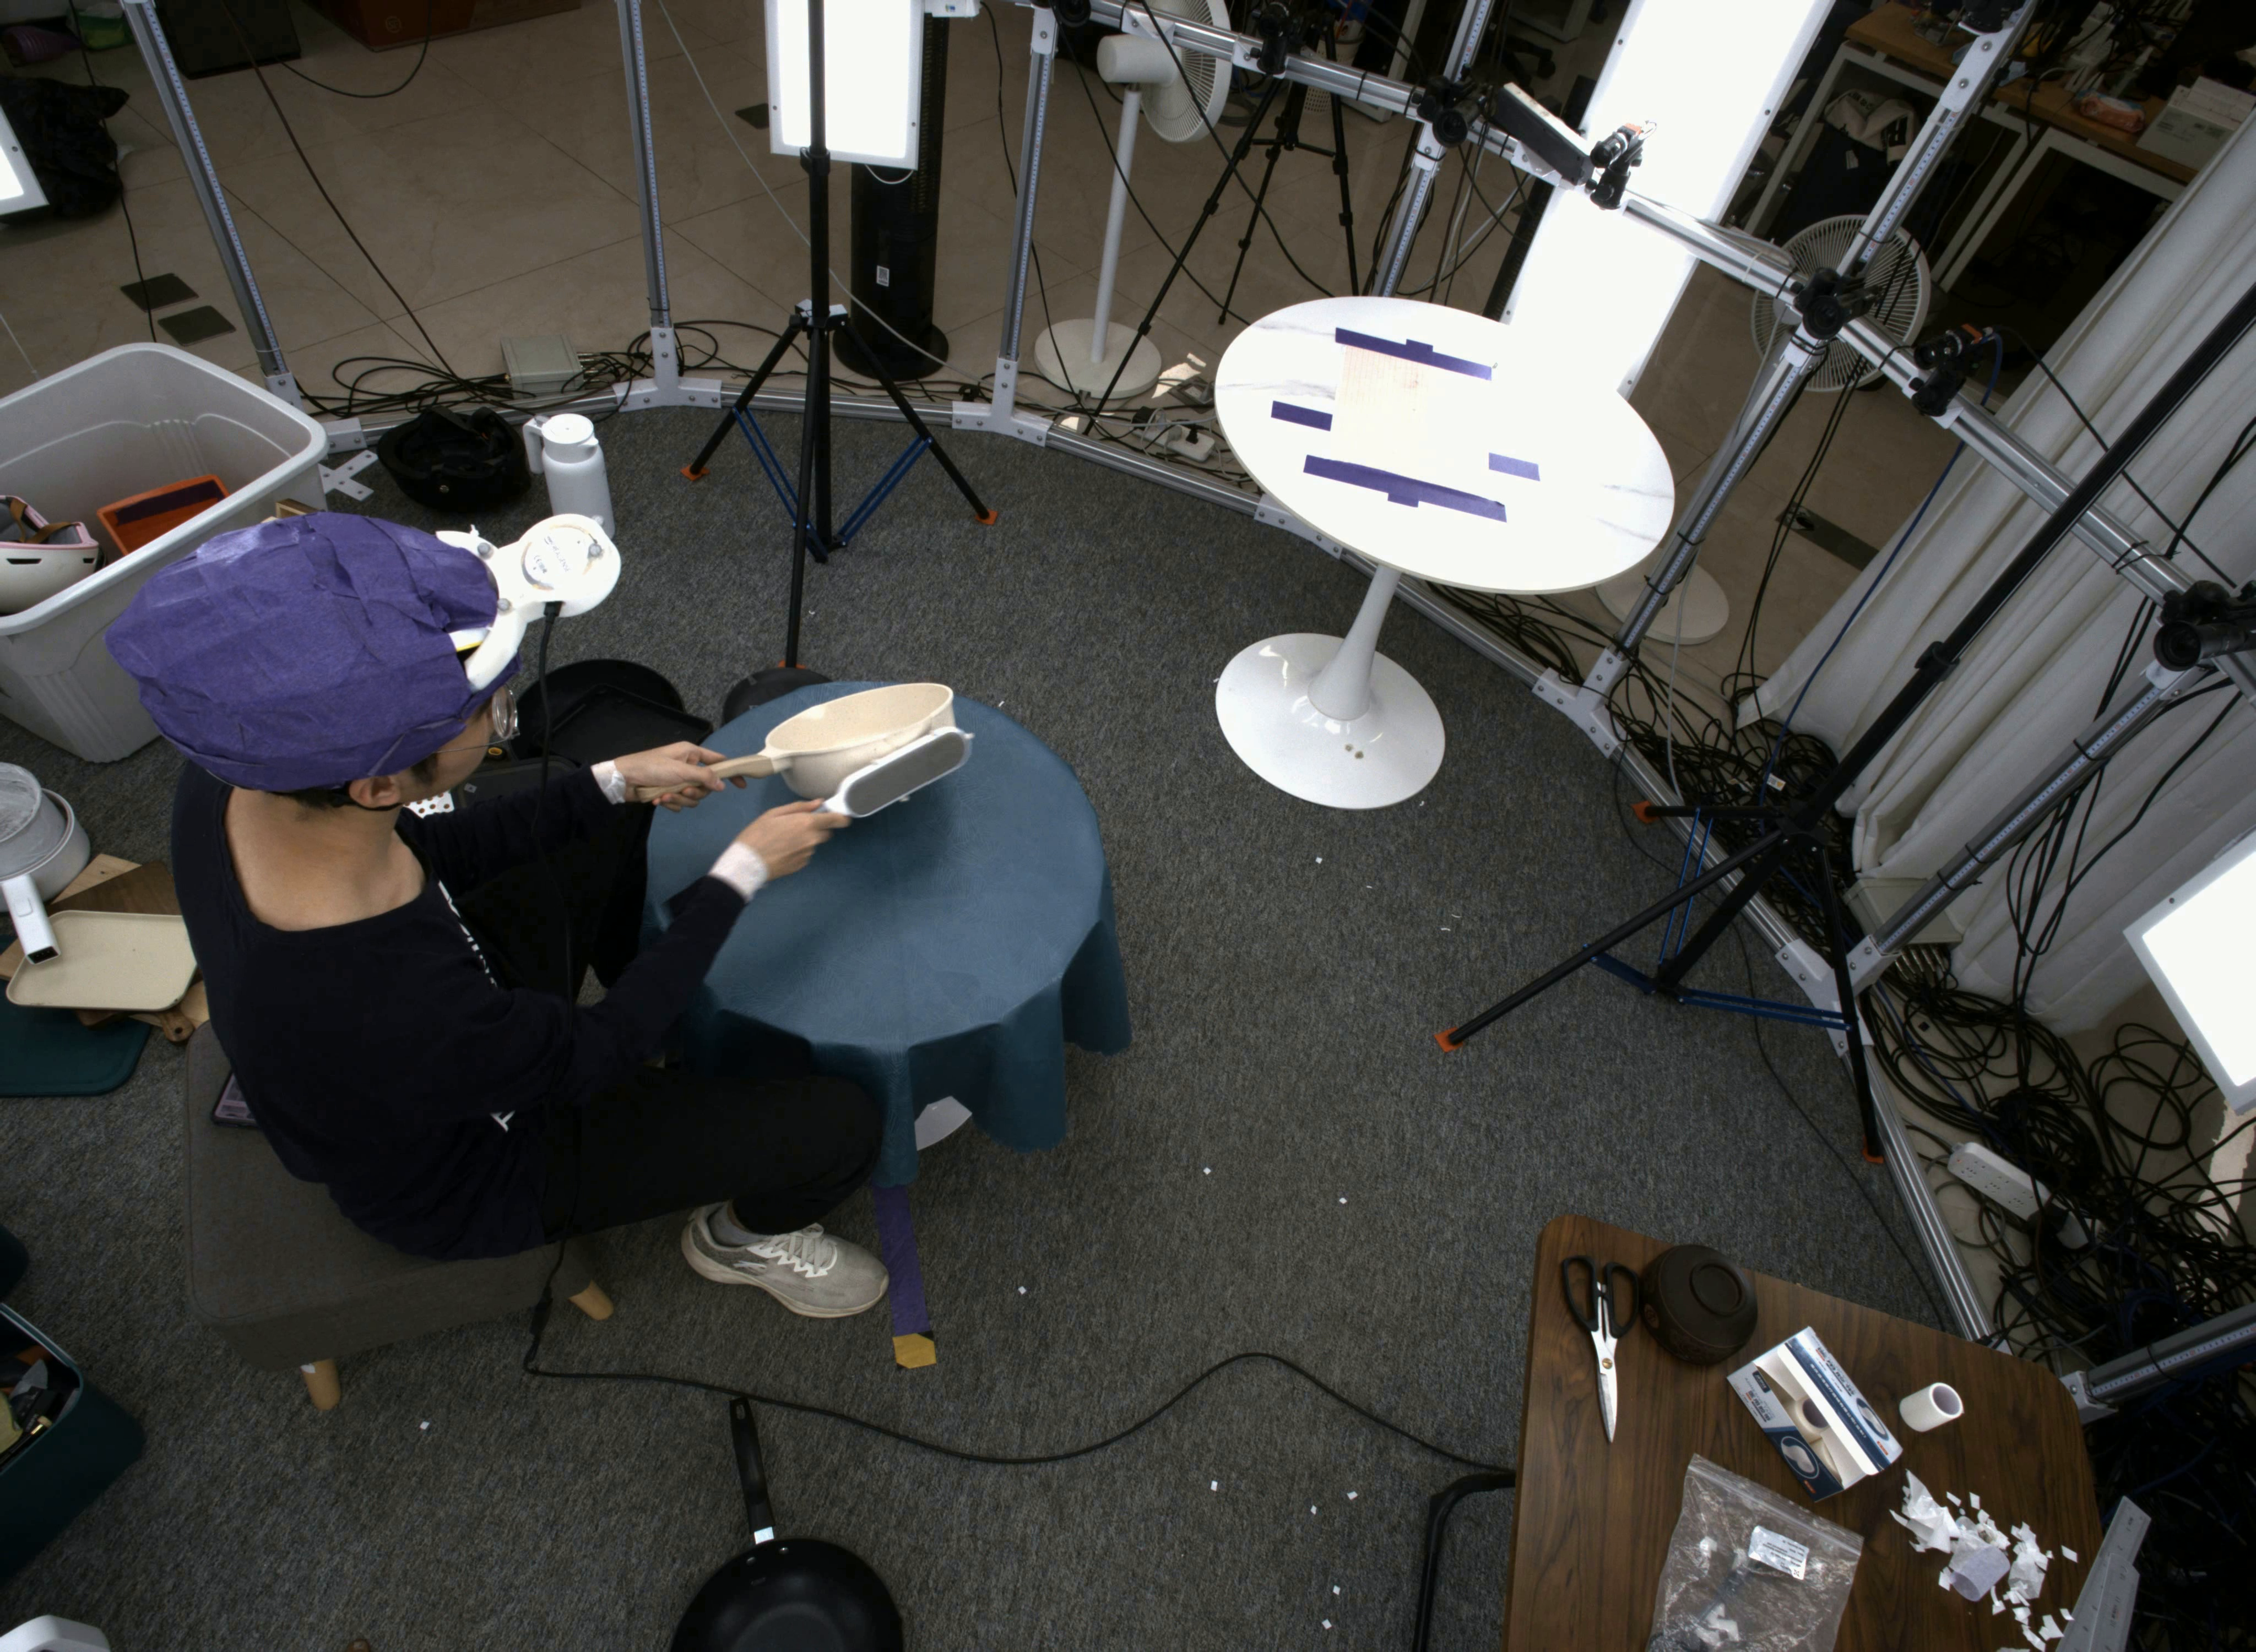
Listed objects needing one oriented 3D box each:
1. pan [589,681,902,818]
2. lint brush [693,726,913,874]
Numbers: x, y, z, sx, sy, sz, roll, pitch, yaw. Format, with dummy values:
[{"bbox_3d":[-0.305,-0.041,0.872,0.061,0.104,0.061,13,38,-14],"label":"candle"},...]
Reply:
[{"bbox_3d":[-0.478,-0.074,1.643,0.253,0.105,0.437,14,35,42],"label":"pan"},{"bbox_3d":[-0.392,-0.033,1.572,0.309,0.062,0.020,-34,42,-24],"label":"lint brush"}]
